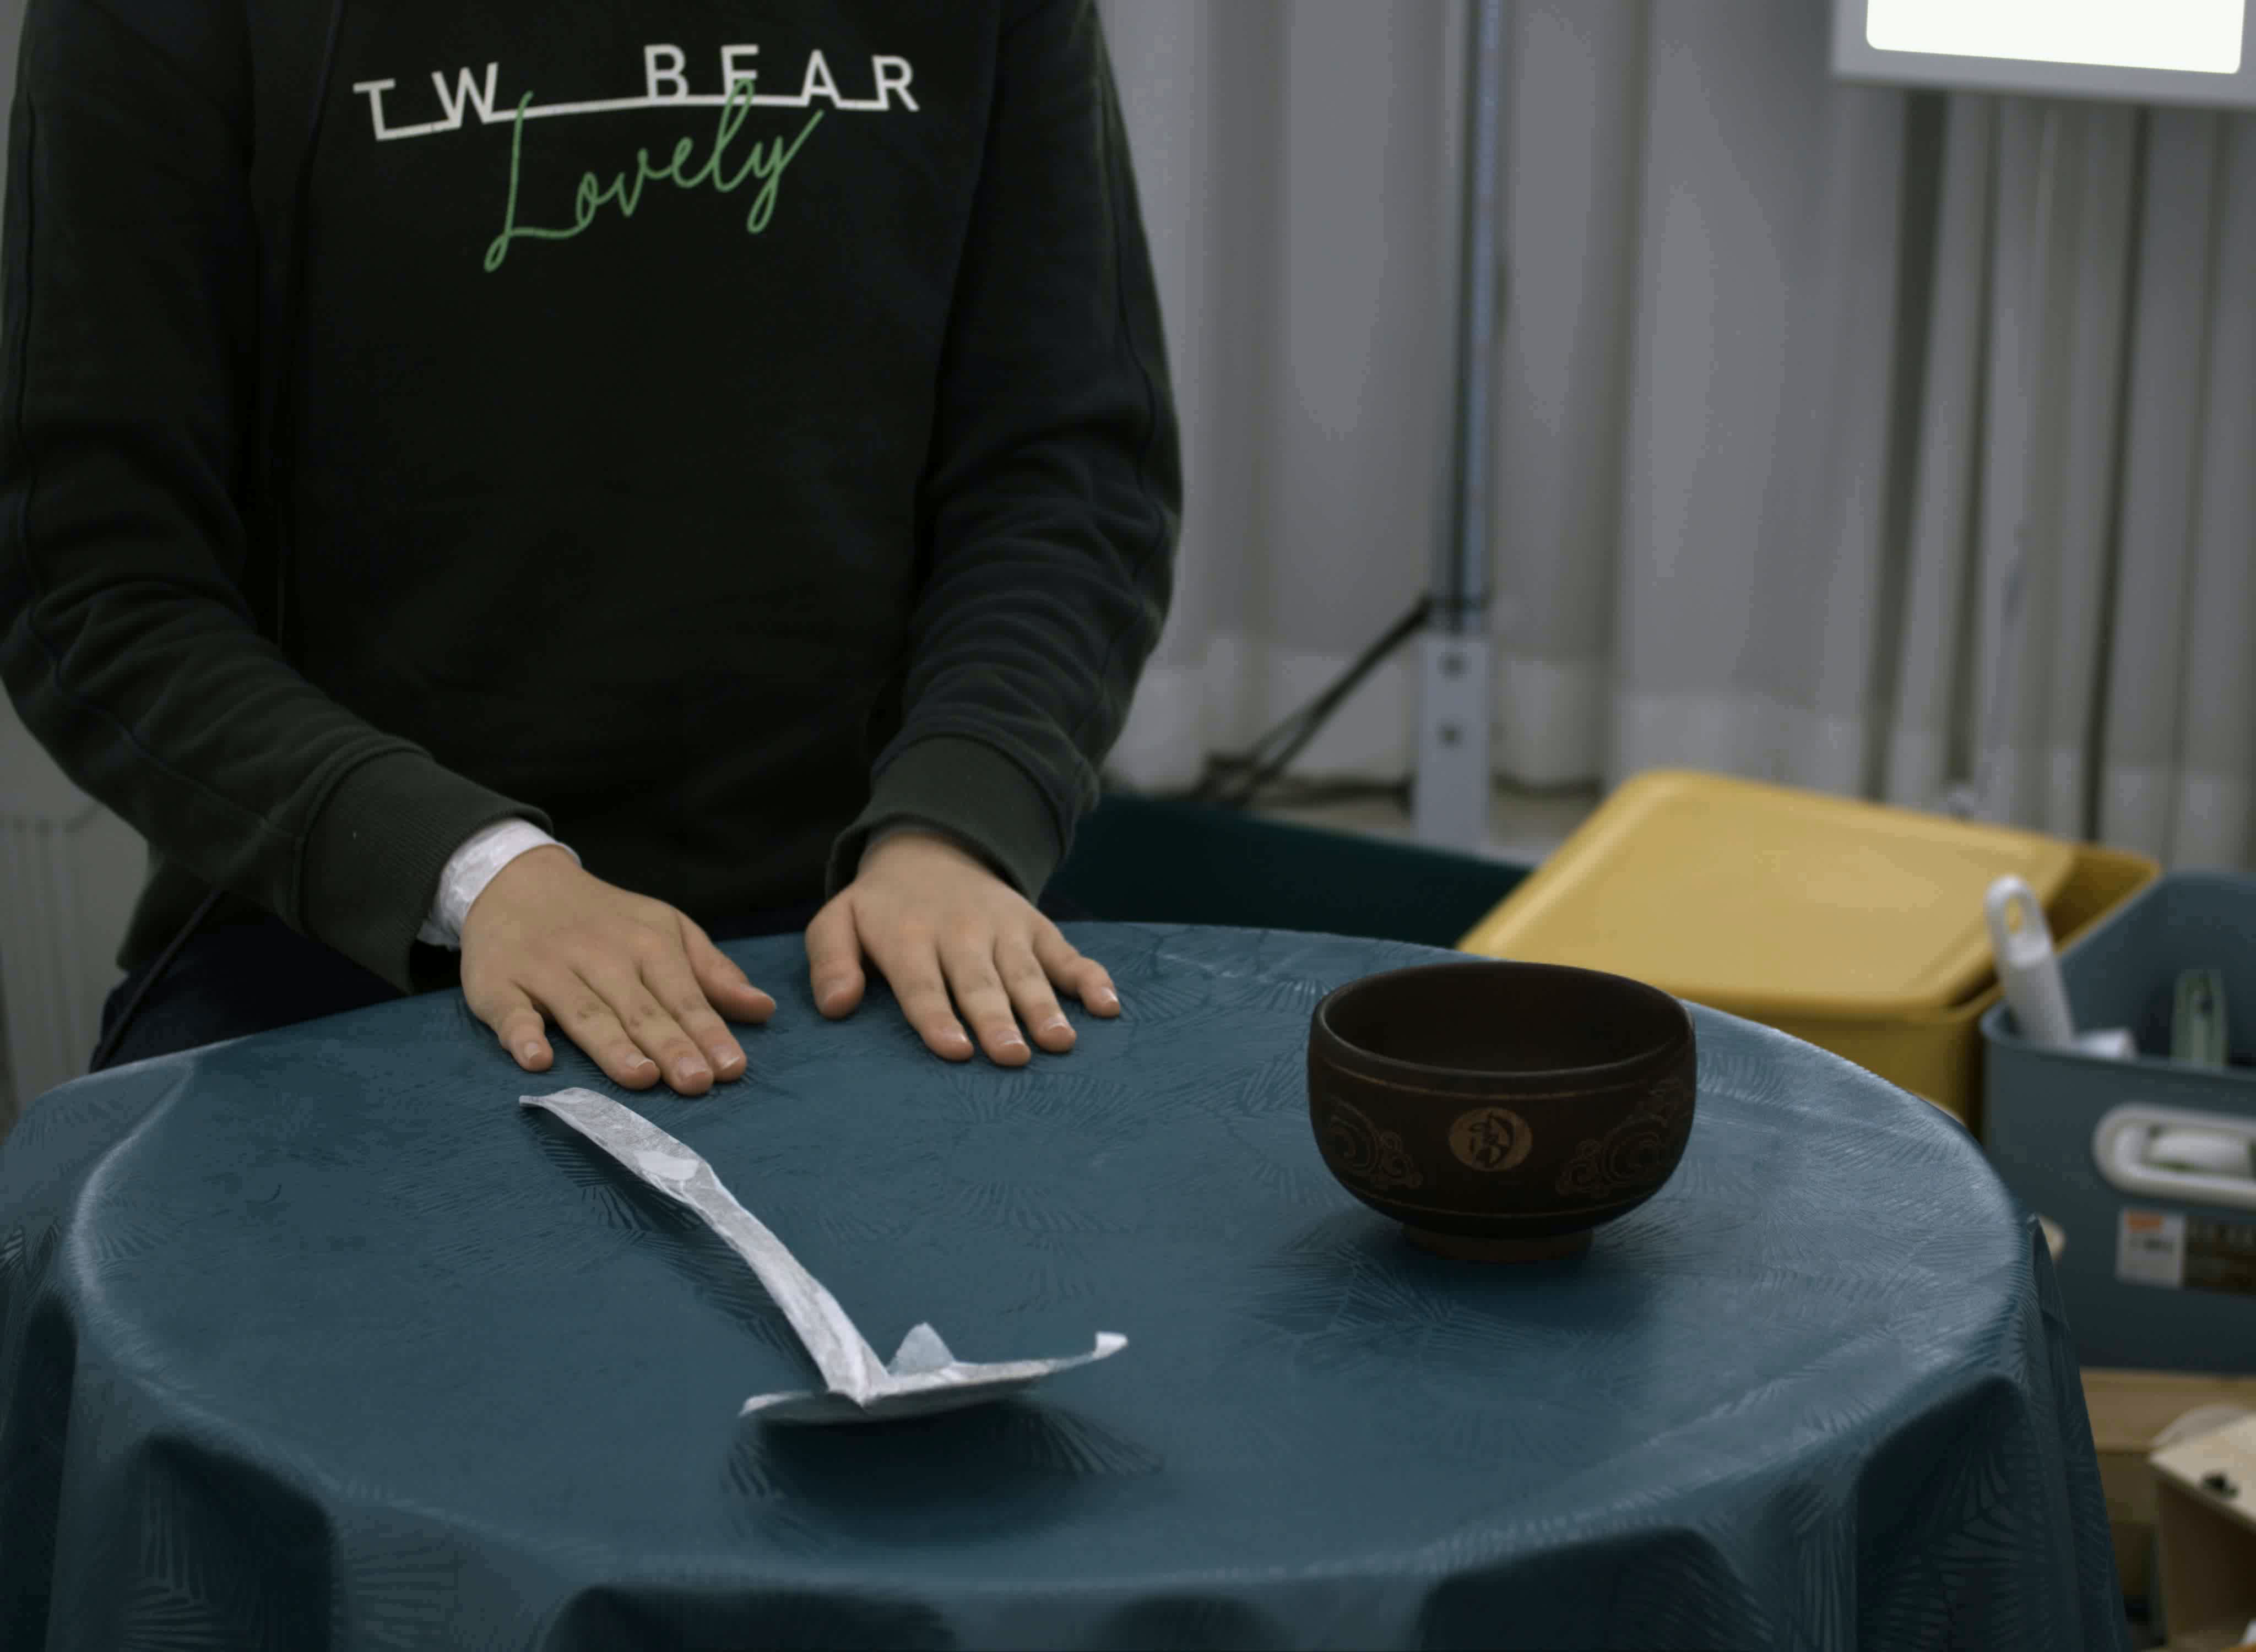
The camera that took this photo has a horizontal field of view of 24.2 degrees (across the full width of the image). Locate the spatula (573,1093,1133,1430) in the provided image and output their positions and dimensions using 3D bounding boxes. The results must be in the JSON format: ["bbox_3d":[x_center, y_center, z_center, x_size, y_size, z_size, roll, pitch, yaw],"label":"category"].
[{"bbox_3d":[-0.106,0.117,1.534,0.099,0.045,0.360,-8,18,-22],"label":"spatula"}]

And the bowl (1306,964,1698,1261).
[{"bbox_3d":[0.112,0.089,1.583,0.117,0.070,0.117,0,14,0],"label":"bowl"}]
